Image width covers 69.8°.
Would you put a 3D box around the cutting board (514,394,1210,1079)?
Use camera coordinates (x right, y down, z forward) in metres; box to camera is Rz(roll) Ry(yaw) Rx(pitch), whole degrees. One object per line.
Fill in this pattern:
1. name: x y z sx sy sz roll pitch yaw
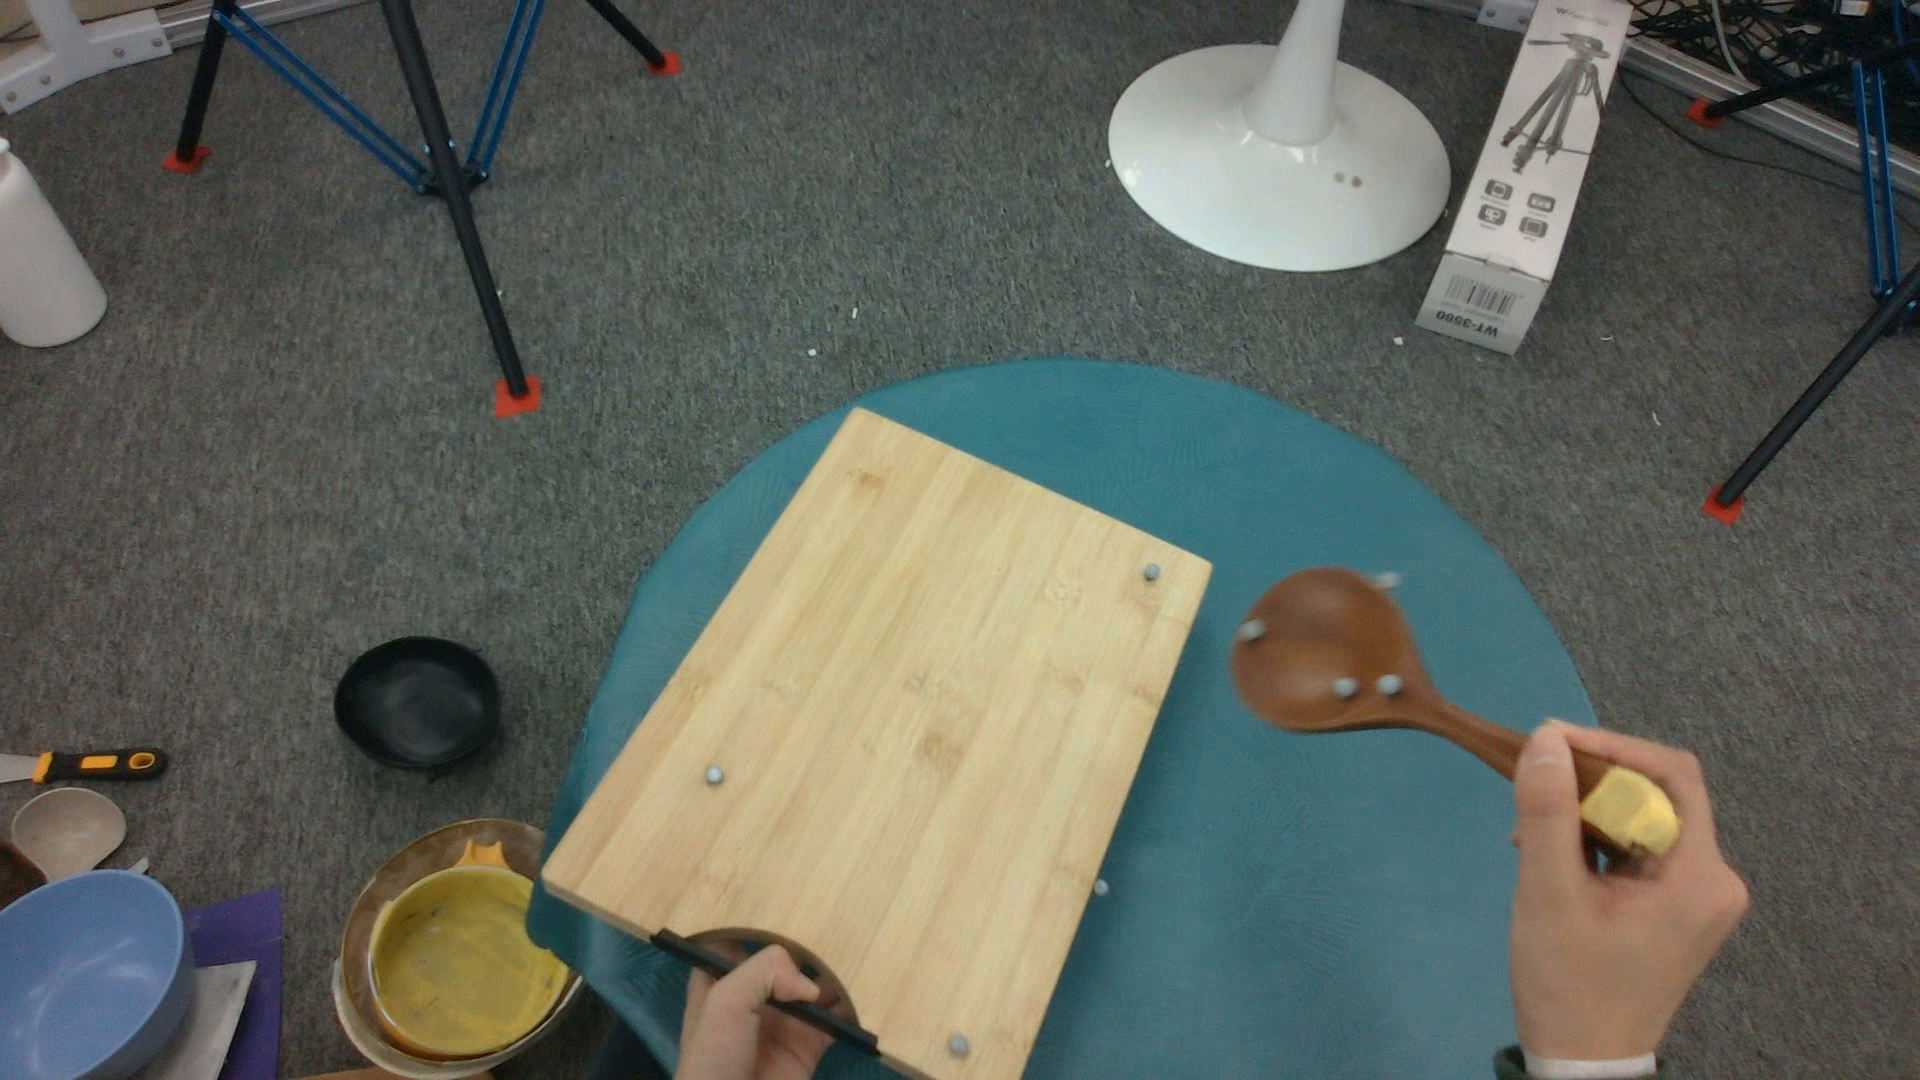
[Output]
1. cutting board: -0.030 0.088 0.732 0.250 0.023 0.350 24 54 6

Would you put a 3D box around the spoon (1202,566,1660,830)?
1. spoon: 0.171 0.060 0.532 0.075 0.017 0.216 -53 30 -6
